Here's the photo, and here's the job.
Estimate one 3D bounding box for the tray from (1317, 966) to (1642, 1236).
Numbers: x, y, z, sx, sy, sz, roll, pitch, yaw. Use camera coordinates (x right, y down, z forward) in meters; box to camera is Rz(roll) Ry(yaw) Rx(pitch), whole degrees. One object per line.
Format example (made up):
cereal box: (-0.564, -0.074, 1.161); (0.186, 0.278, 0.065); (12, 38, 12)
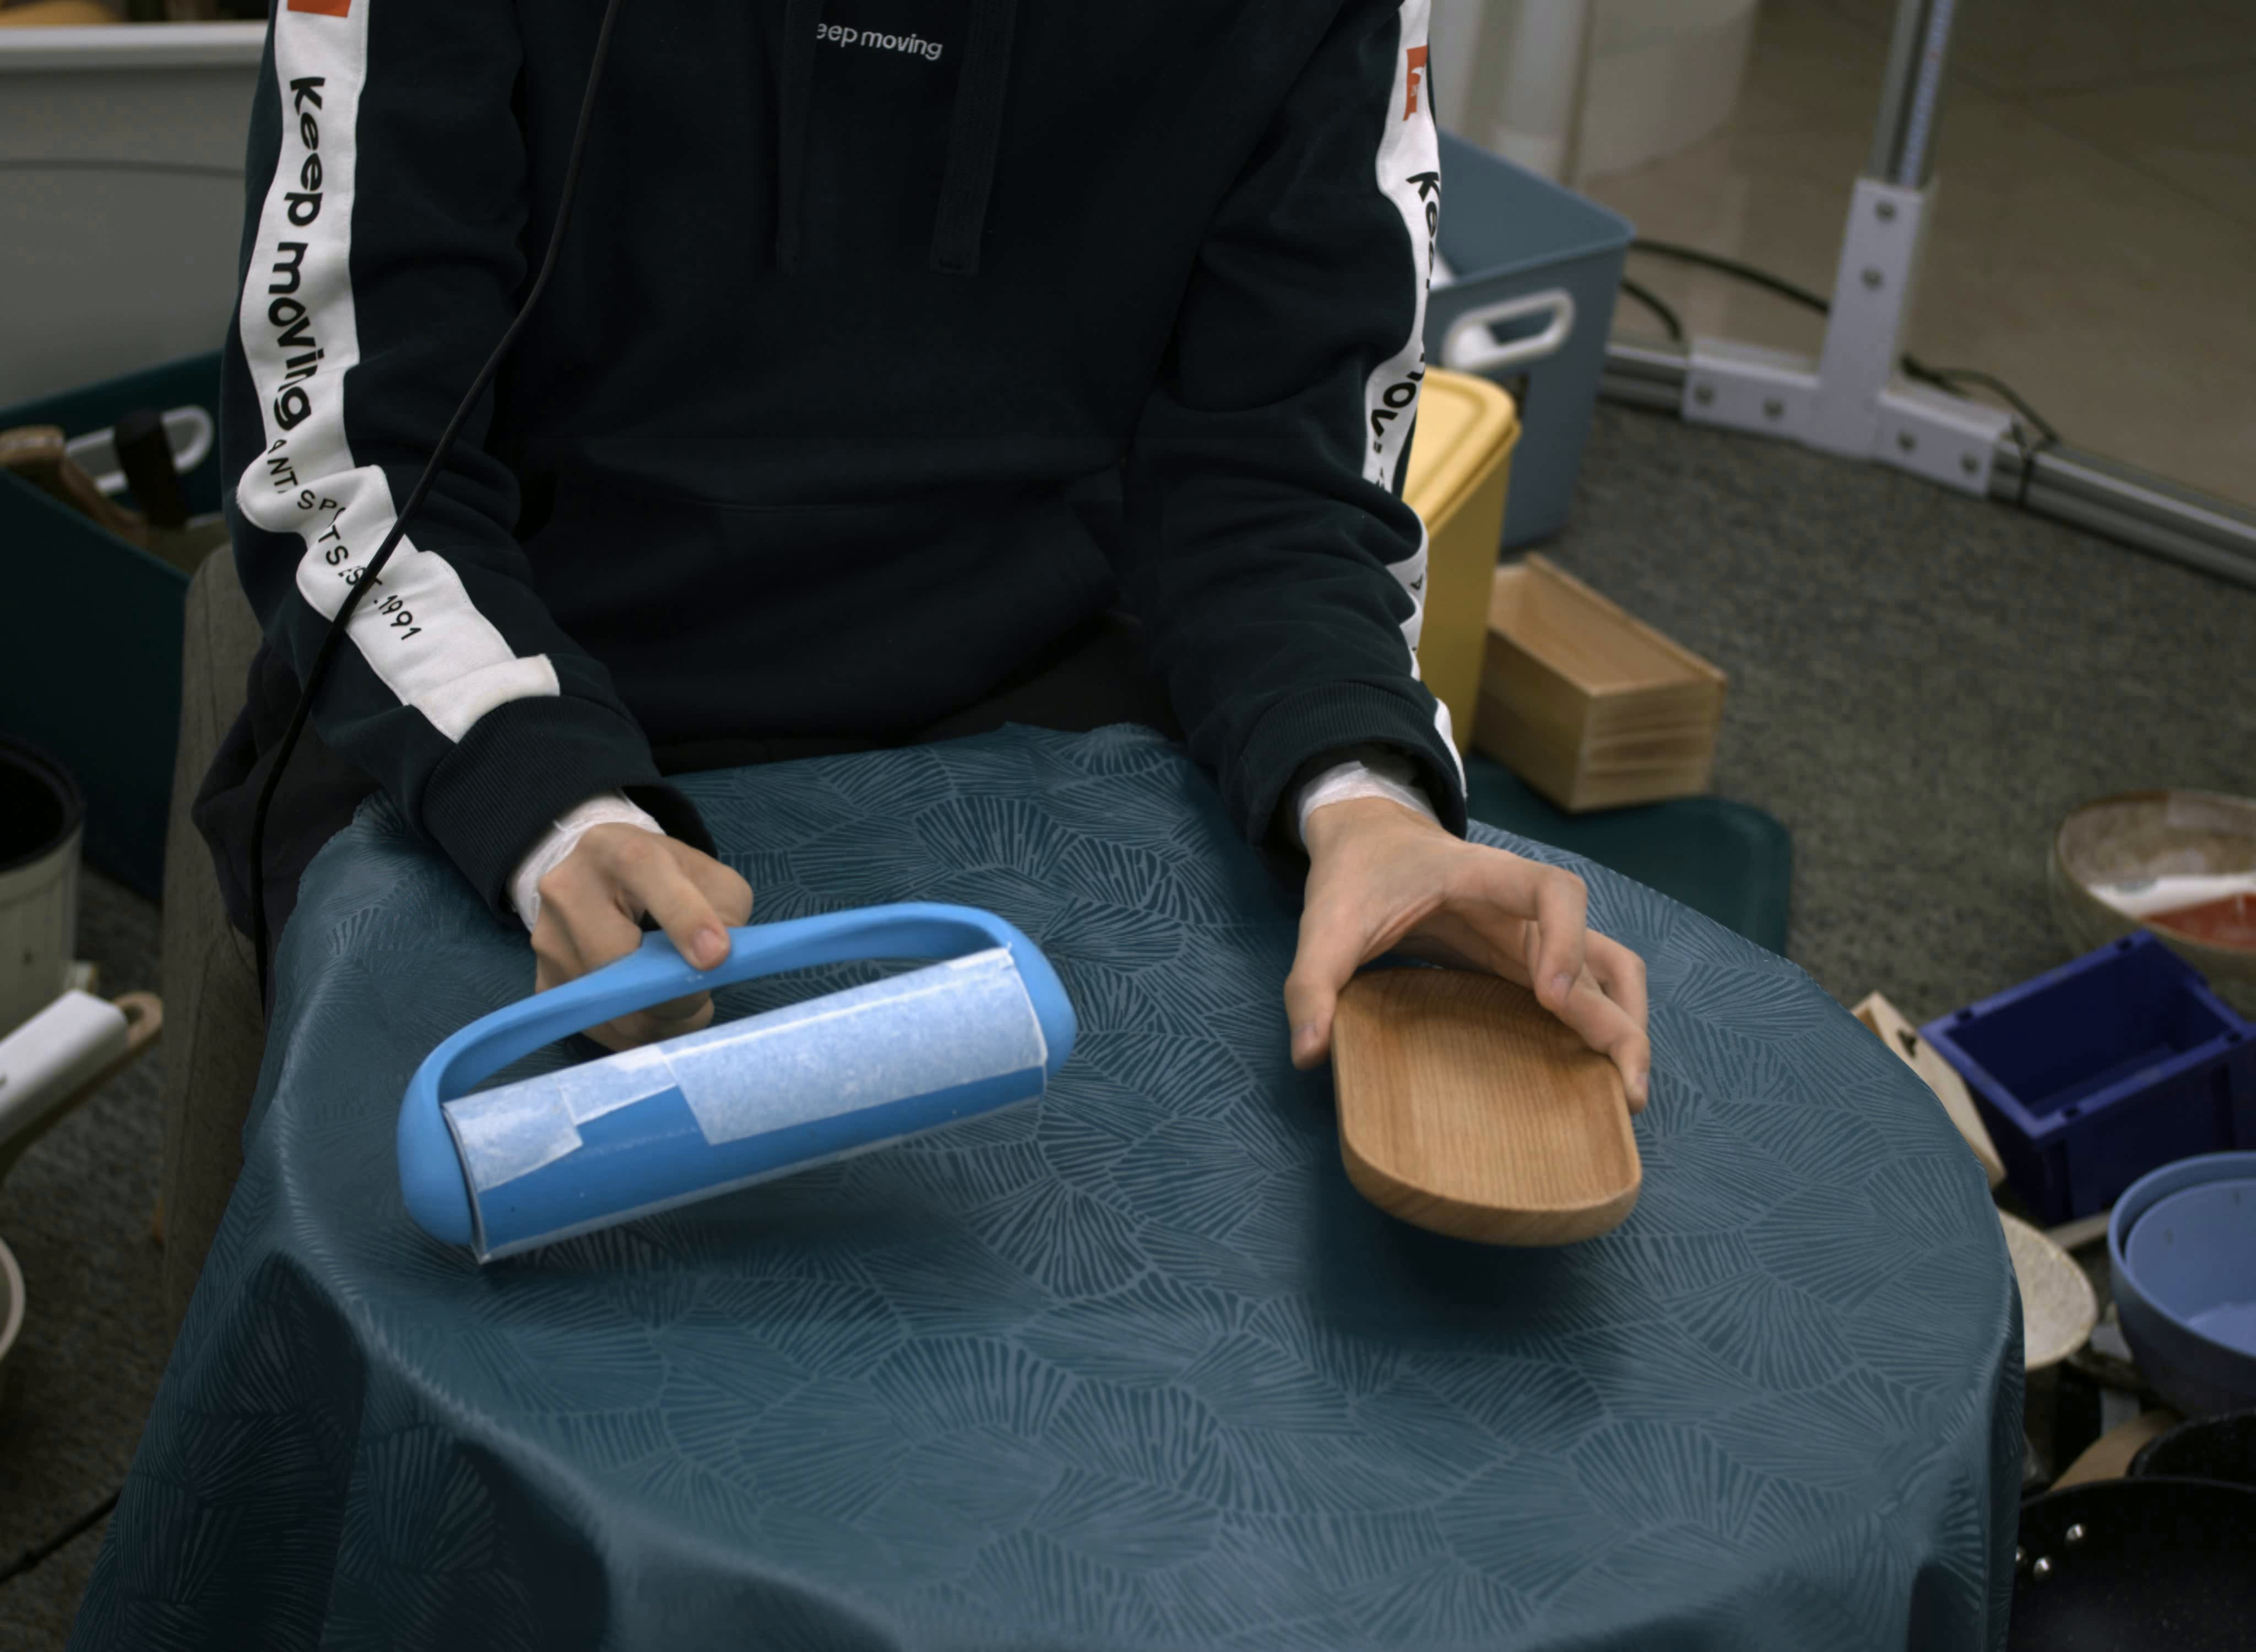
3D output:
tray: (0.117, 0.092, 1.813); (0.101, 0.020, 0.232); (8, 15, -3)

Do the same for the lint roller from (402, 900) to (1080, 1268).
lint roller: (-0.146, 0.068, 1.777); (0.228, 0.067, 0.182); (-19, 27, -16)
